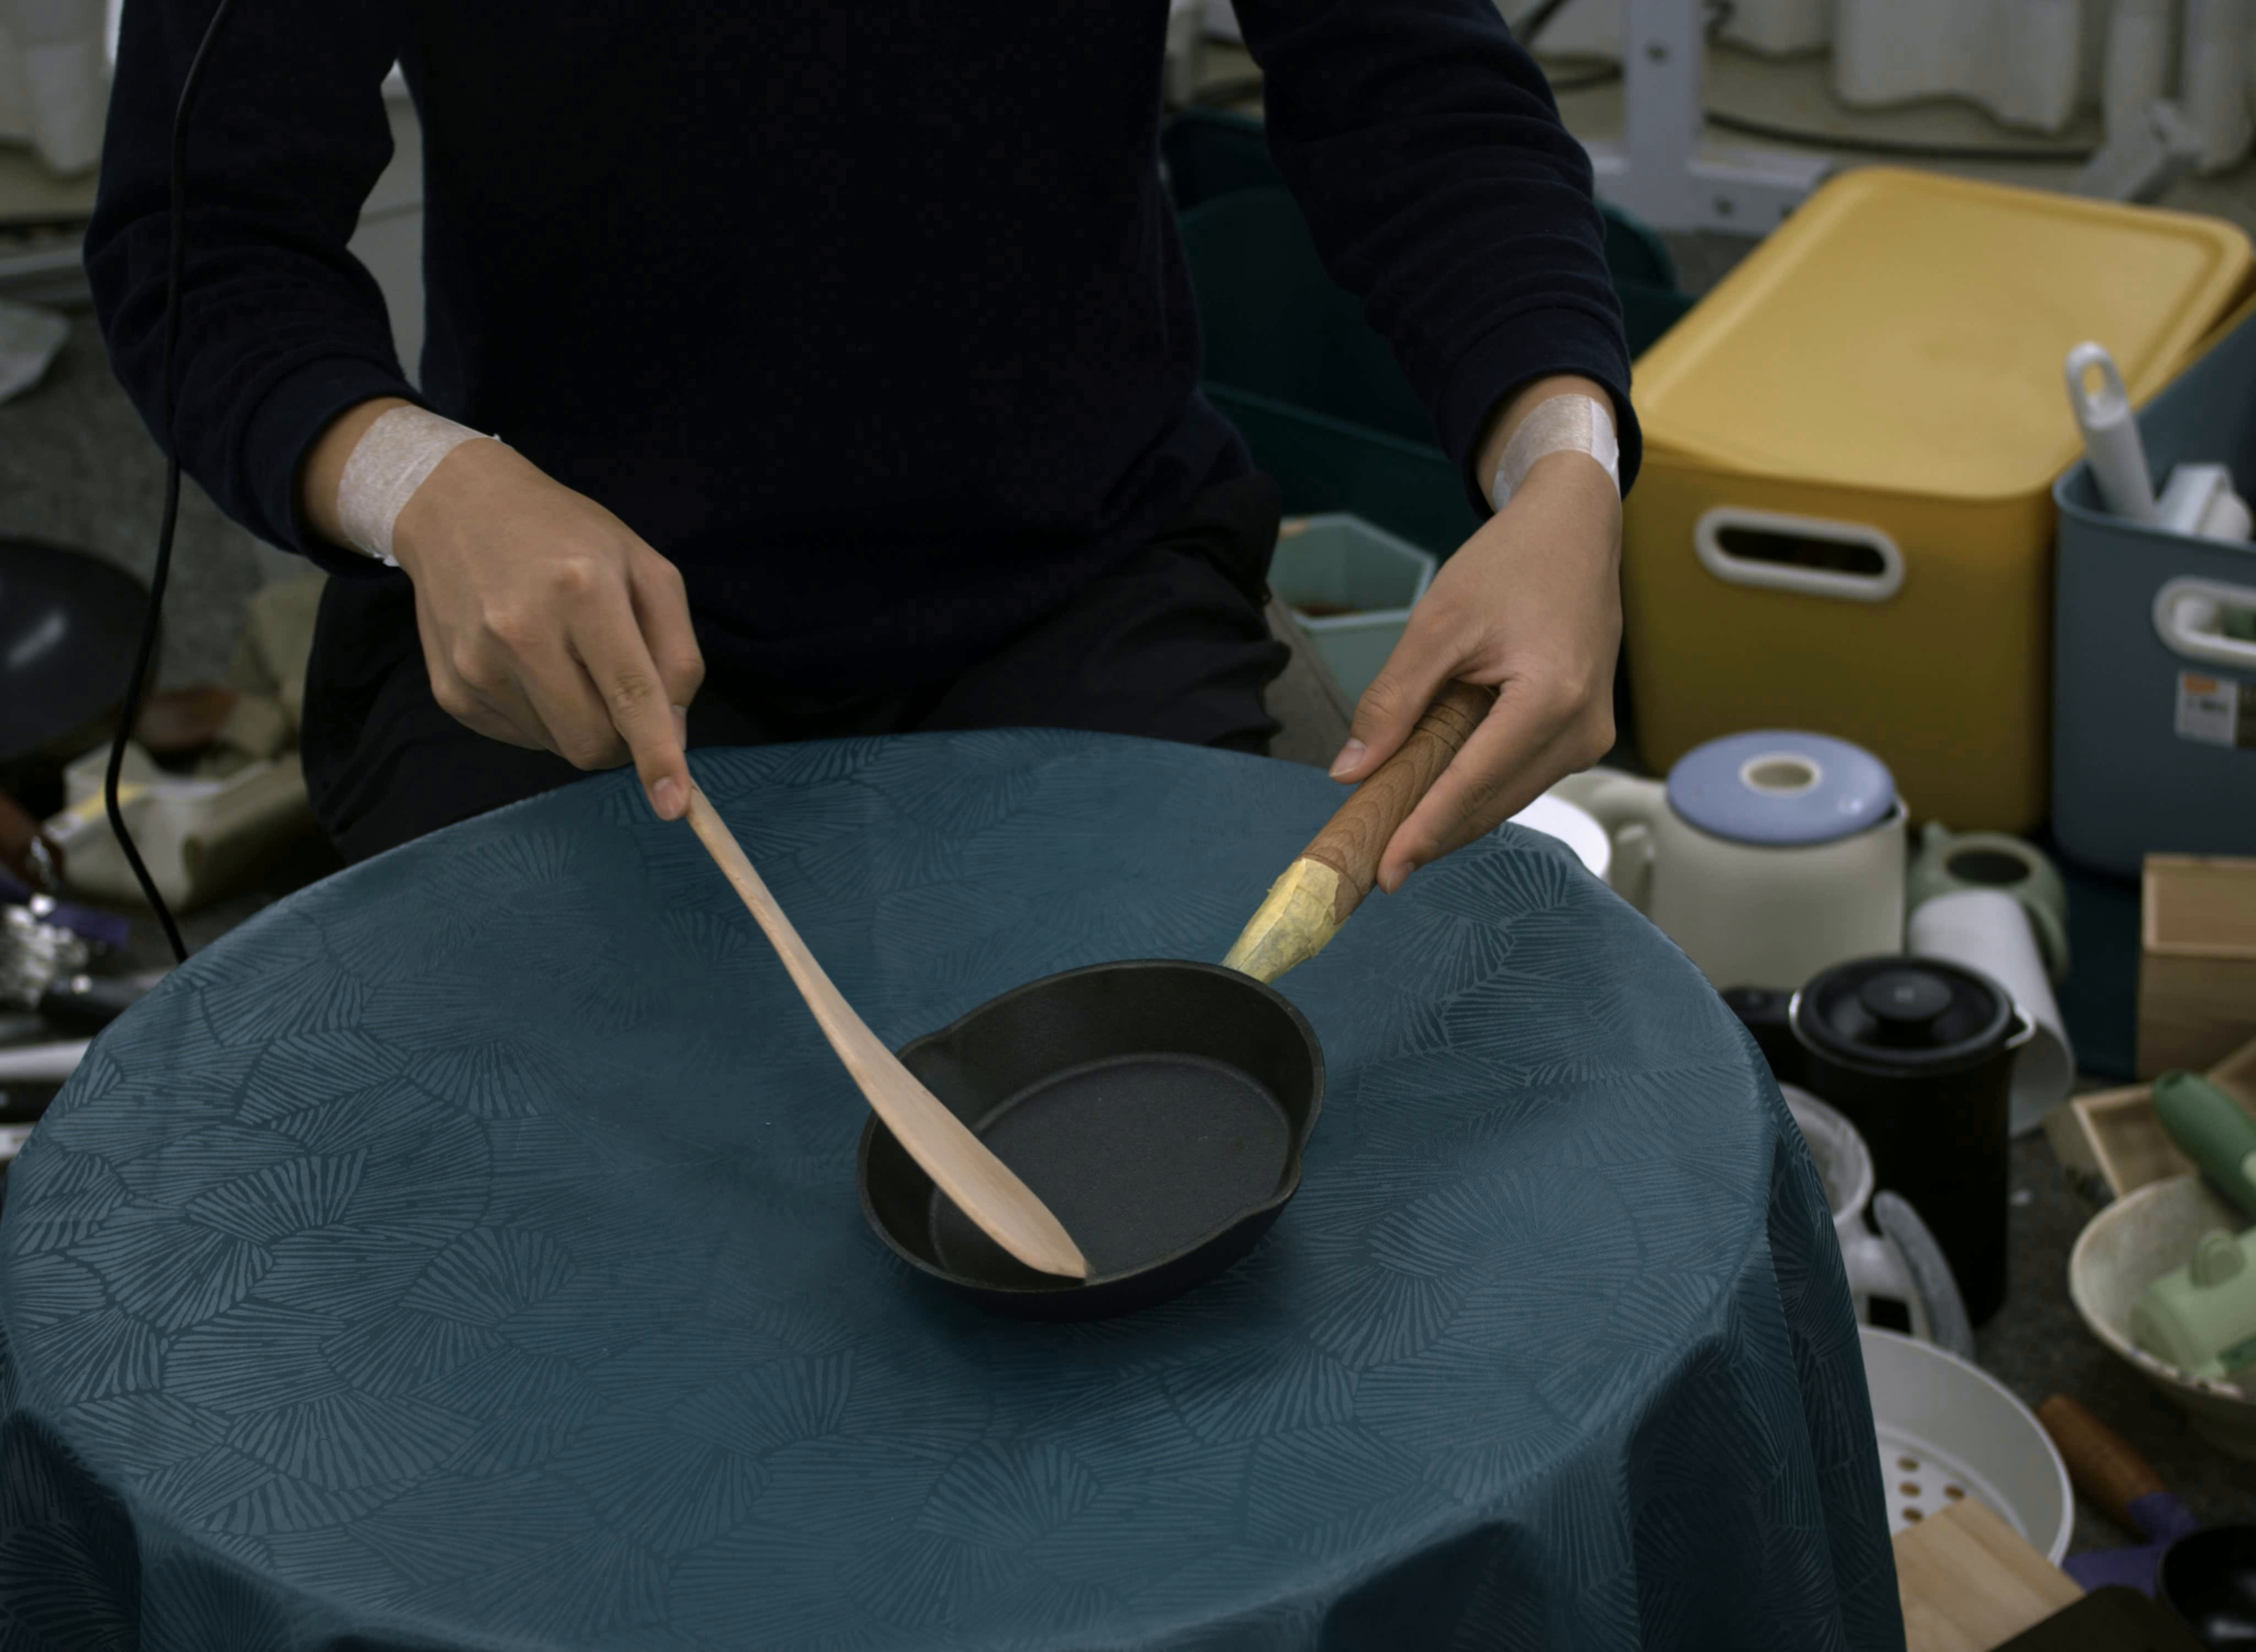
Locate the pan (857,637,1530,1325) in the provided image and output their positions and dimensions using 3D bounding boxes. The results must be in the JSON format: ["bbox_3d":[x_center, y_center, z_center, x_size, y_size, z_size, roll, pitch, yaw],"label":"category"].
[{"bbox_3d":[0.042,0.049,1.865,0.168,0.049,0.329,18,50,38],"label":"pan"}]

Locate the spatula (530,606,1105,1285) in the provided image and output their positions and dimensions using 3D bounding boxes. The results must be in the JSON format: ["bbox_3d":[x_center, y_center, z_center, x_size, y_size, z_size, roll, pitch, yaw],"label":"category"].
[{"bbox_3d":[-0.104,0.037,1.832,0.330,0.016,0.079,51,11,28],"label":"spatula"}]
